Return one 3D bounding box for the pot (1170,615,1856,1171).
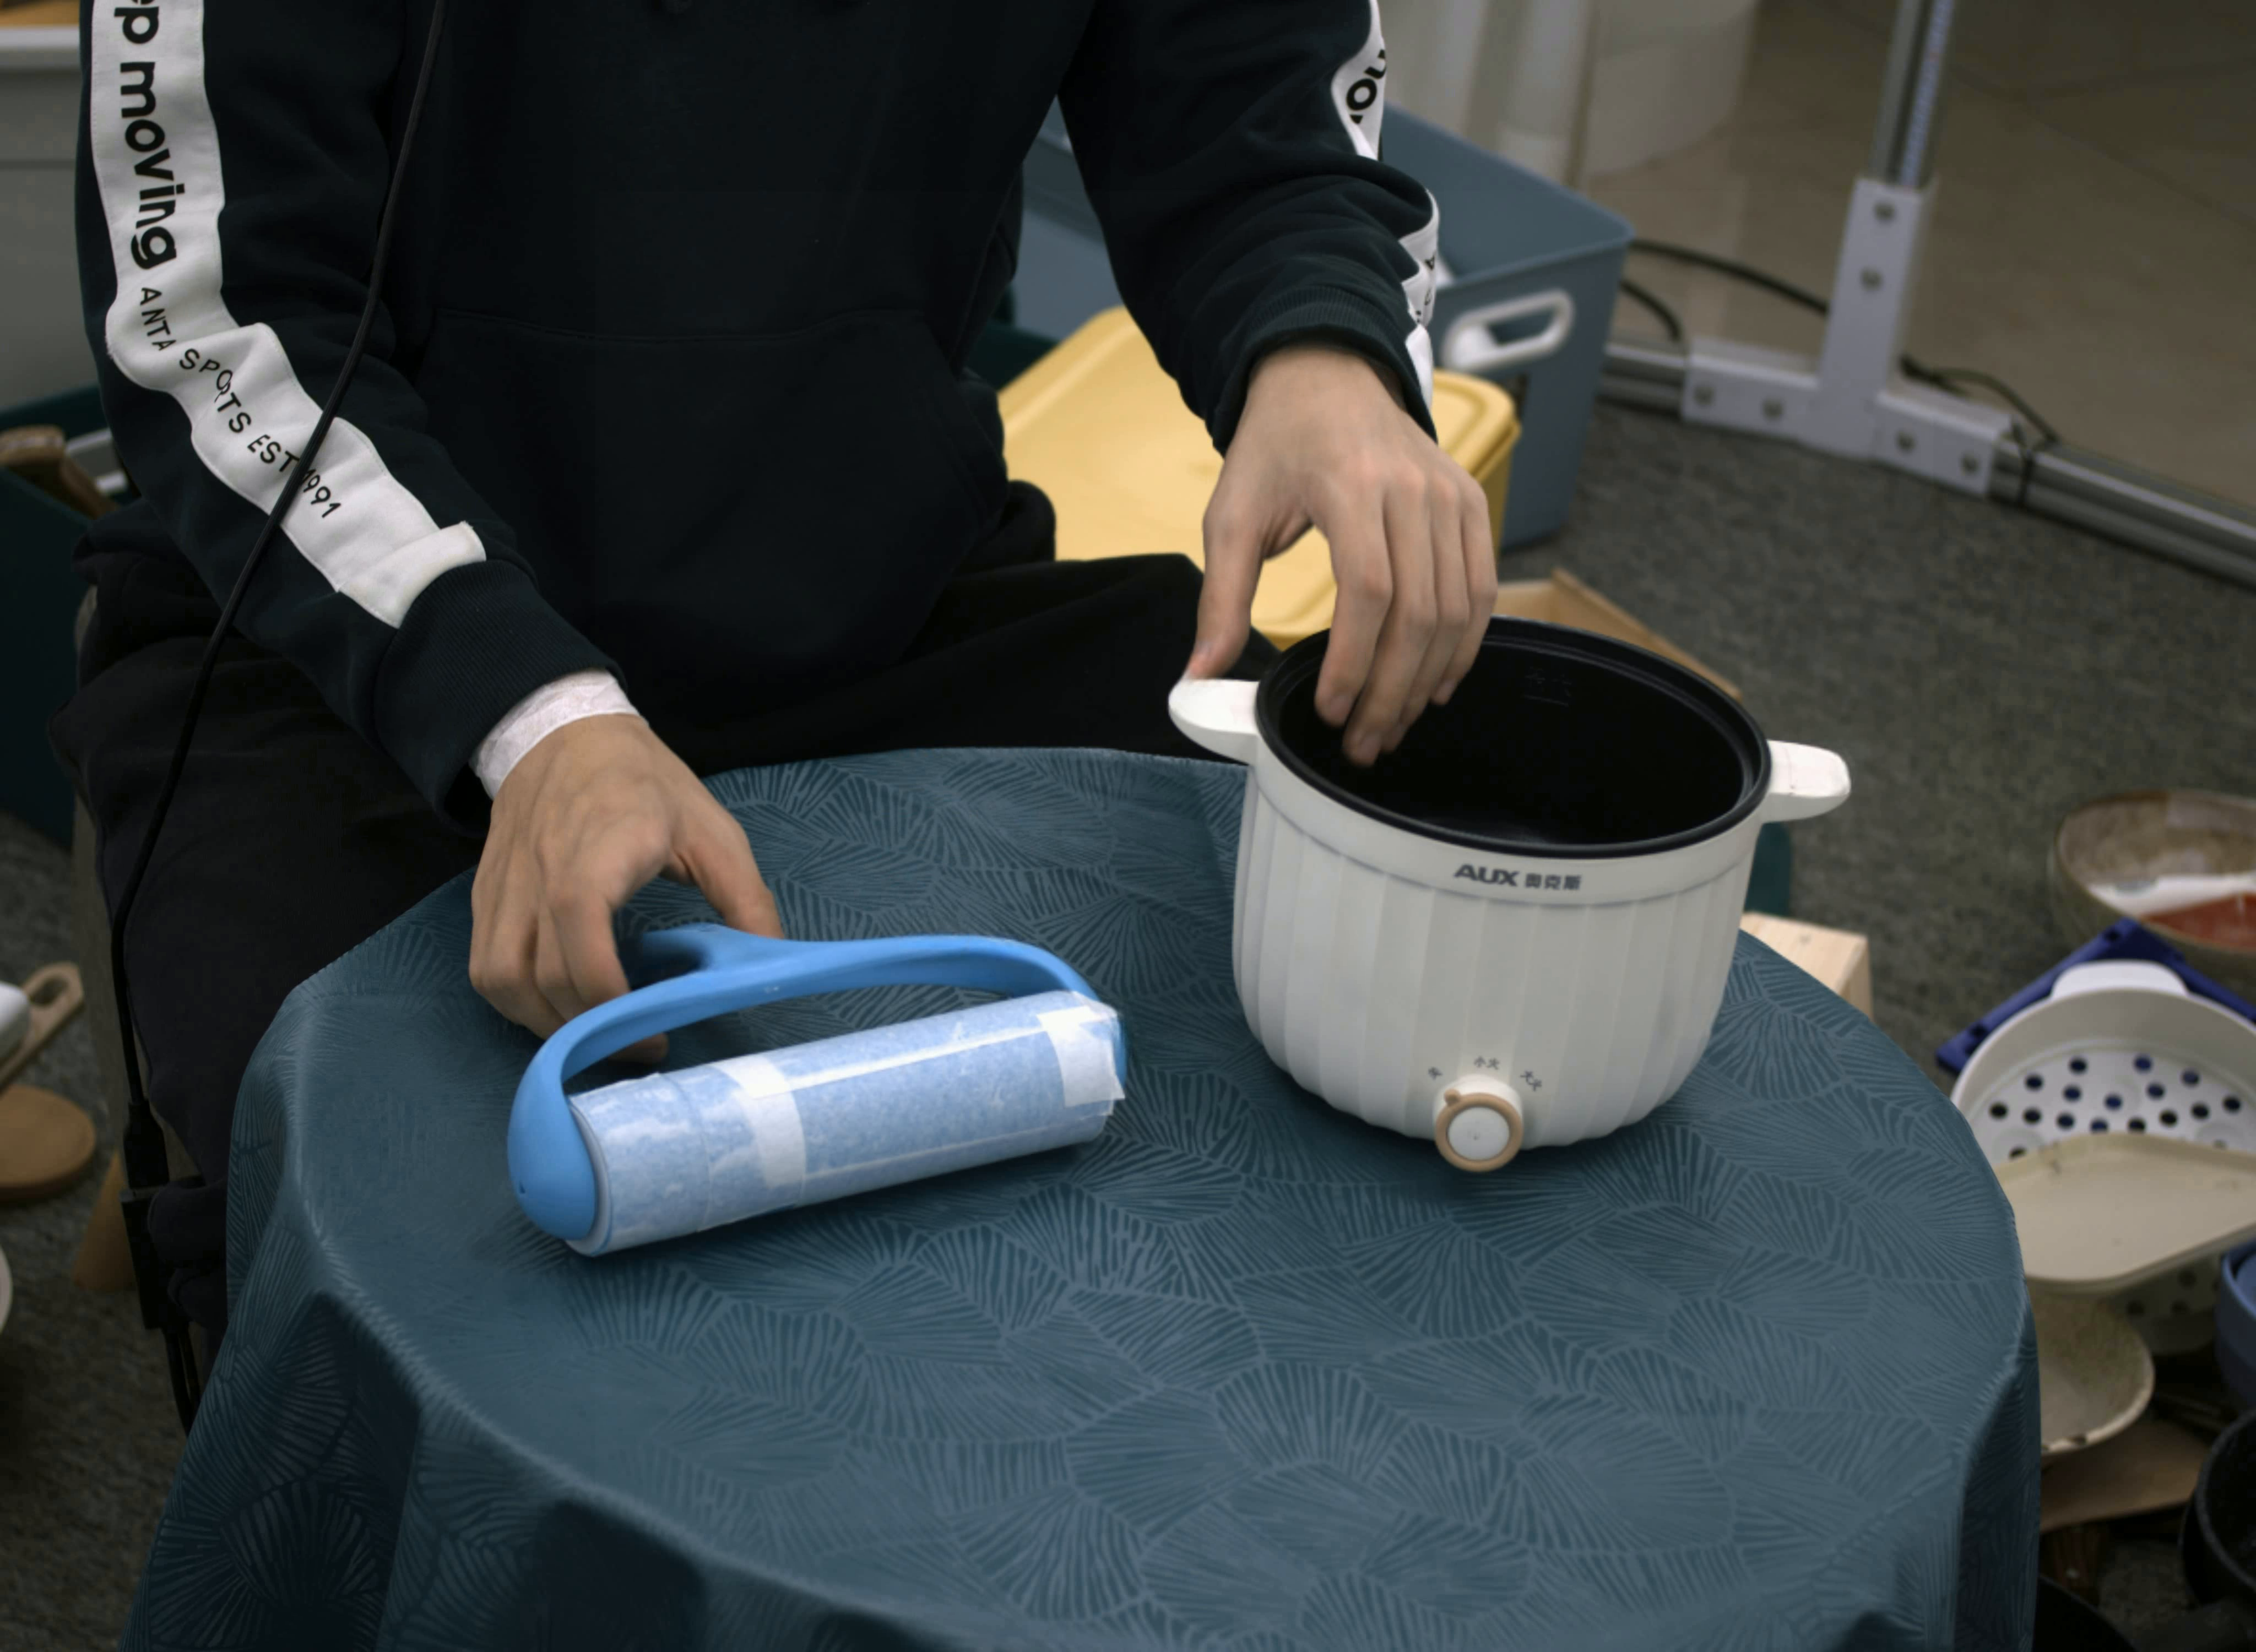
[{"bbox_3d":[0.128,0.027,1.865,0.240,0.142,0.191,5,23,-1],"label":"pot"}]

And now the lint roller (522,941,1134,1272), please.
[{"bbox_3d":[-0.131,0.074,1.807,0.227,0.067,0.182,-15,34,-33],"label":"lint roller"}]
